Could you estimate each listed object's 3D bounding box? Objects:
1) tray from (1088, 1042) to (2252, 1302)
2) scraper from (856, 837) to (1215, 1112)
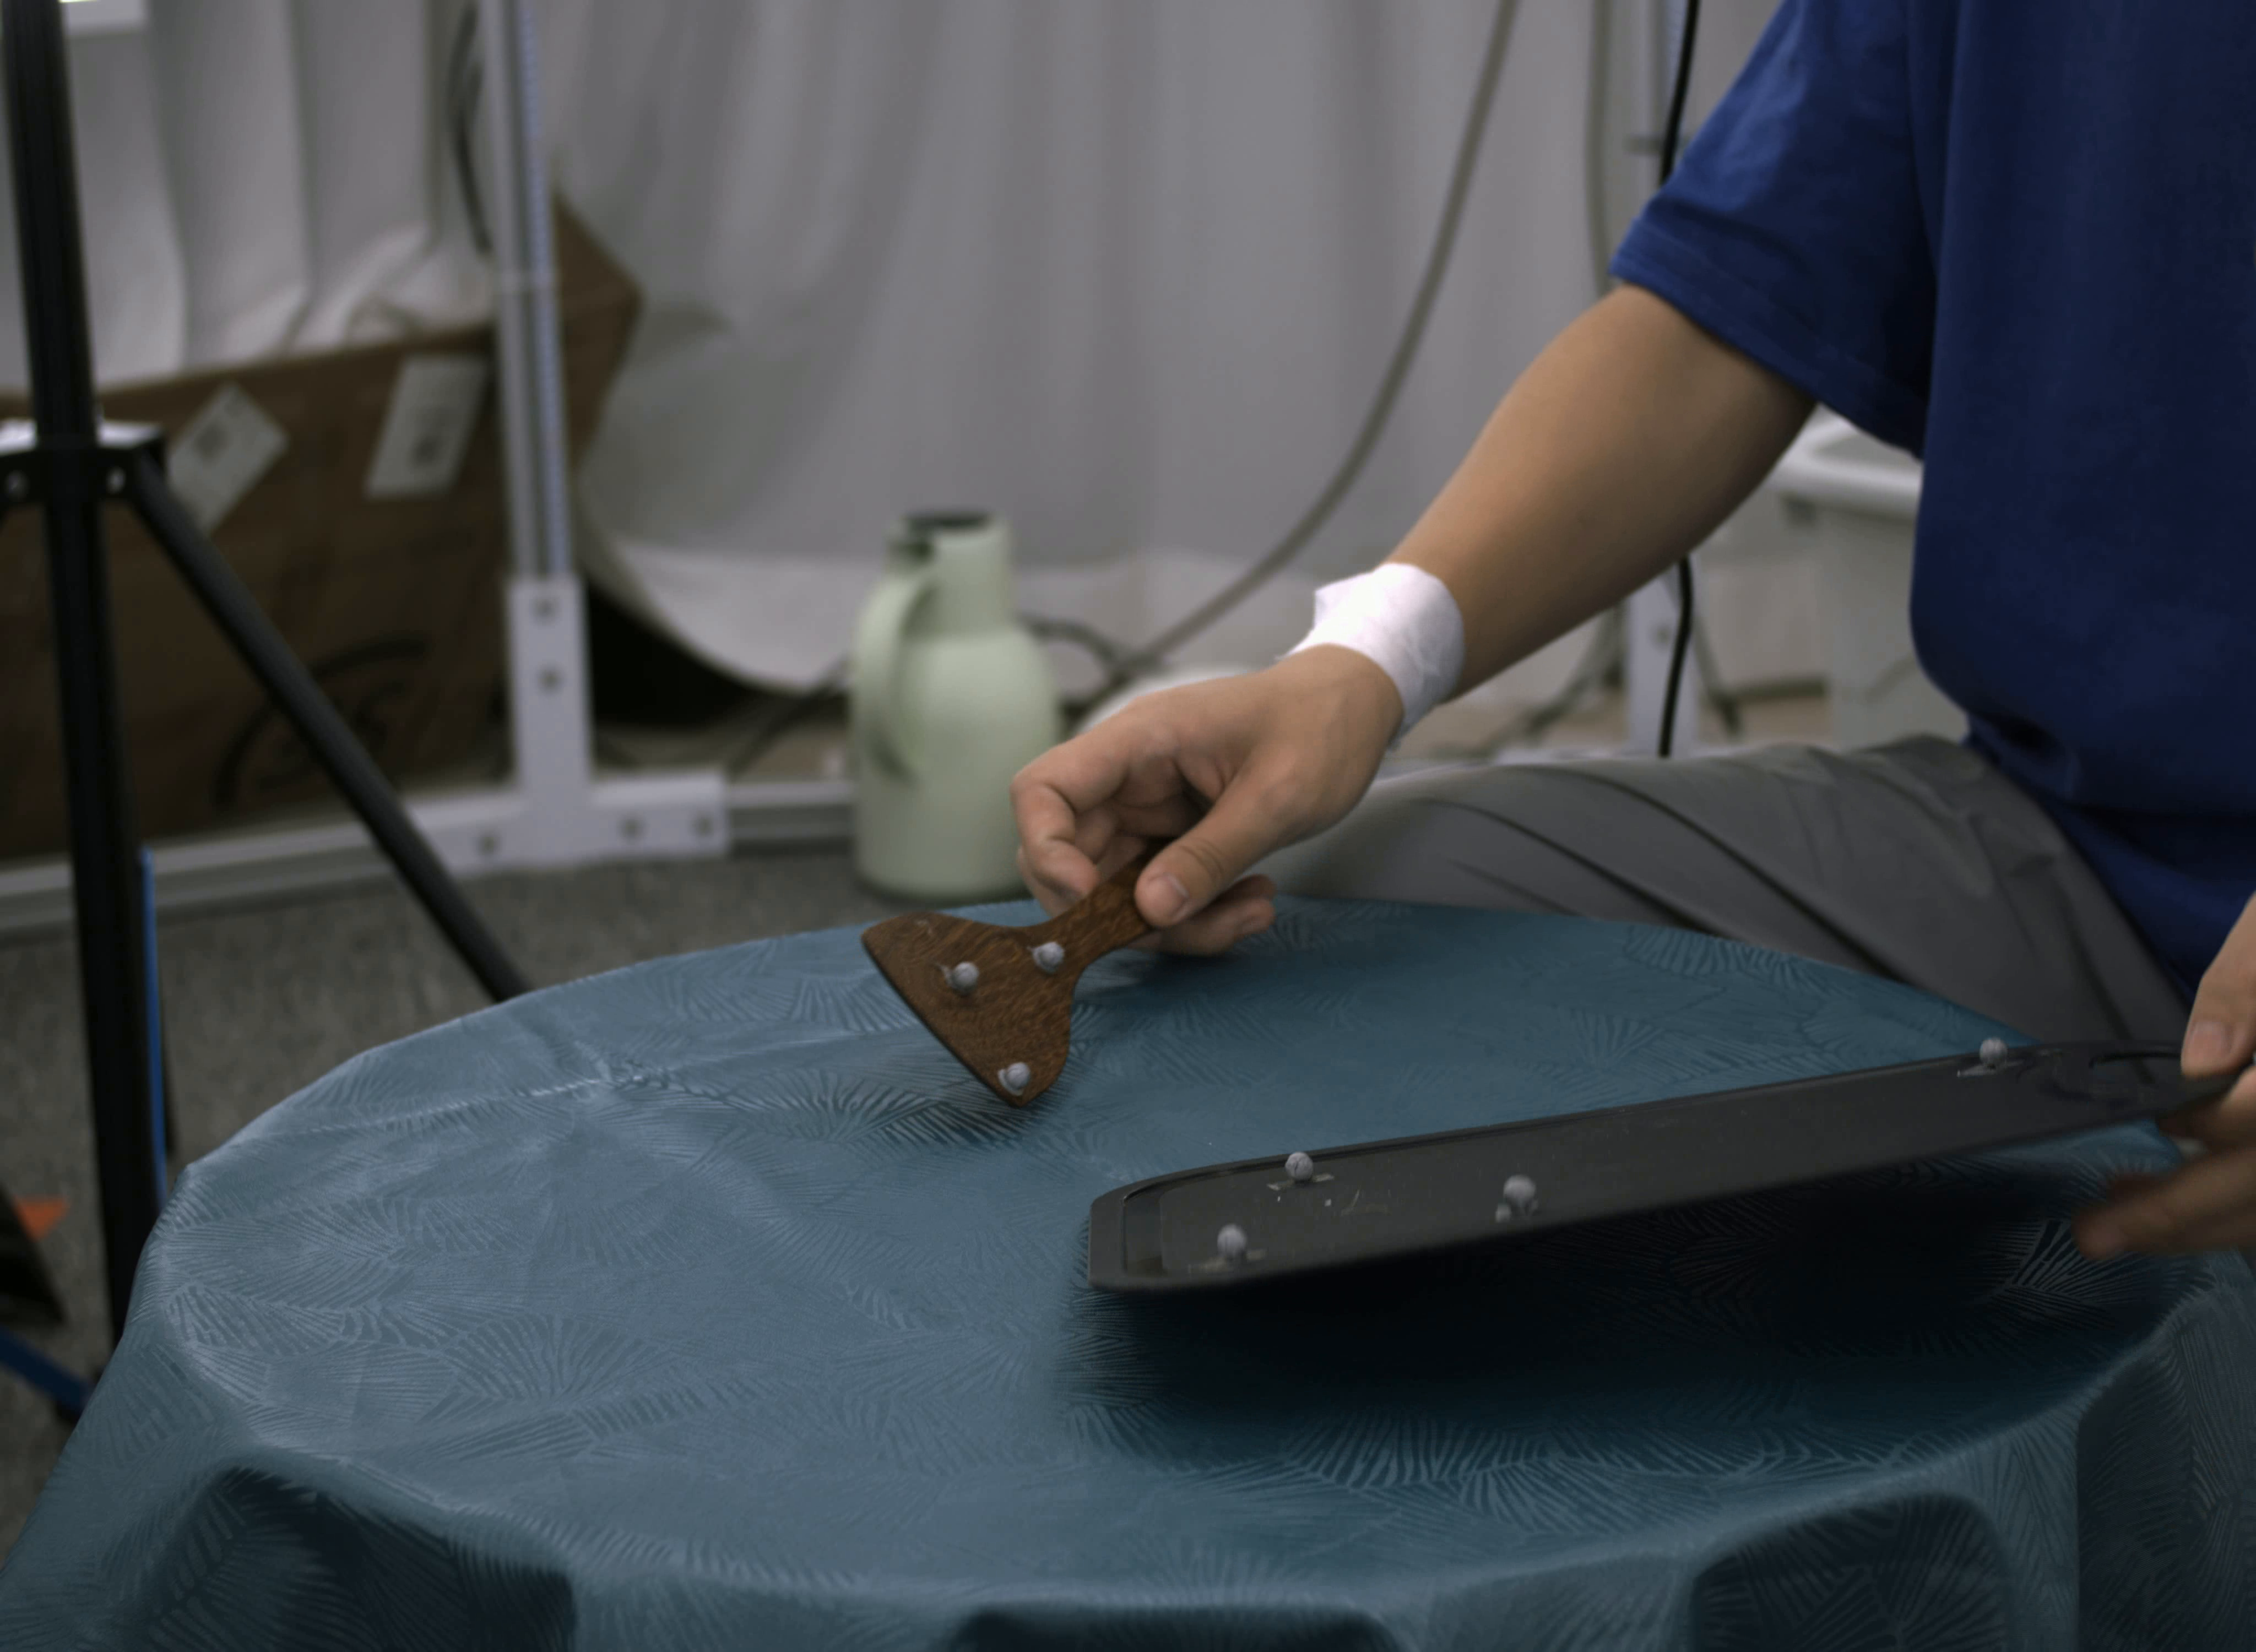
[{"bbox_3d":[0.150,0.092,1.461,0.324,0.010,0.211,-8,5,3],"label":"tray"},{"bbox_3d":[-0.021,0.038,1.702,0.076,0.011,0.208,48,28,7],"label":"scraper"}]
